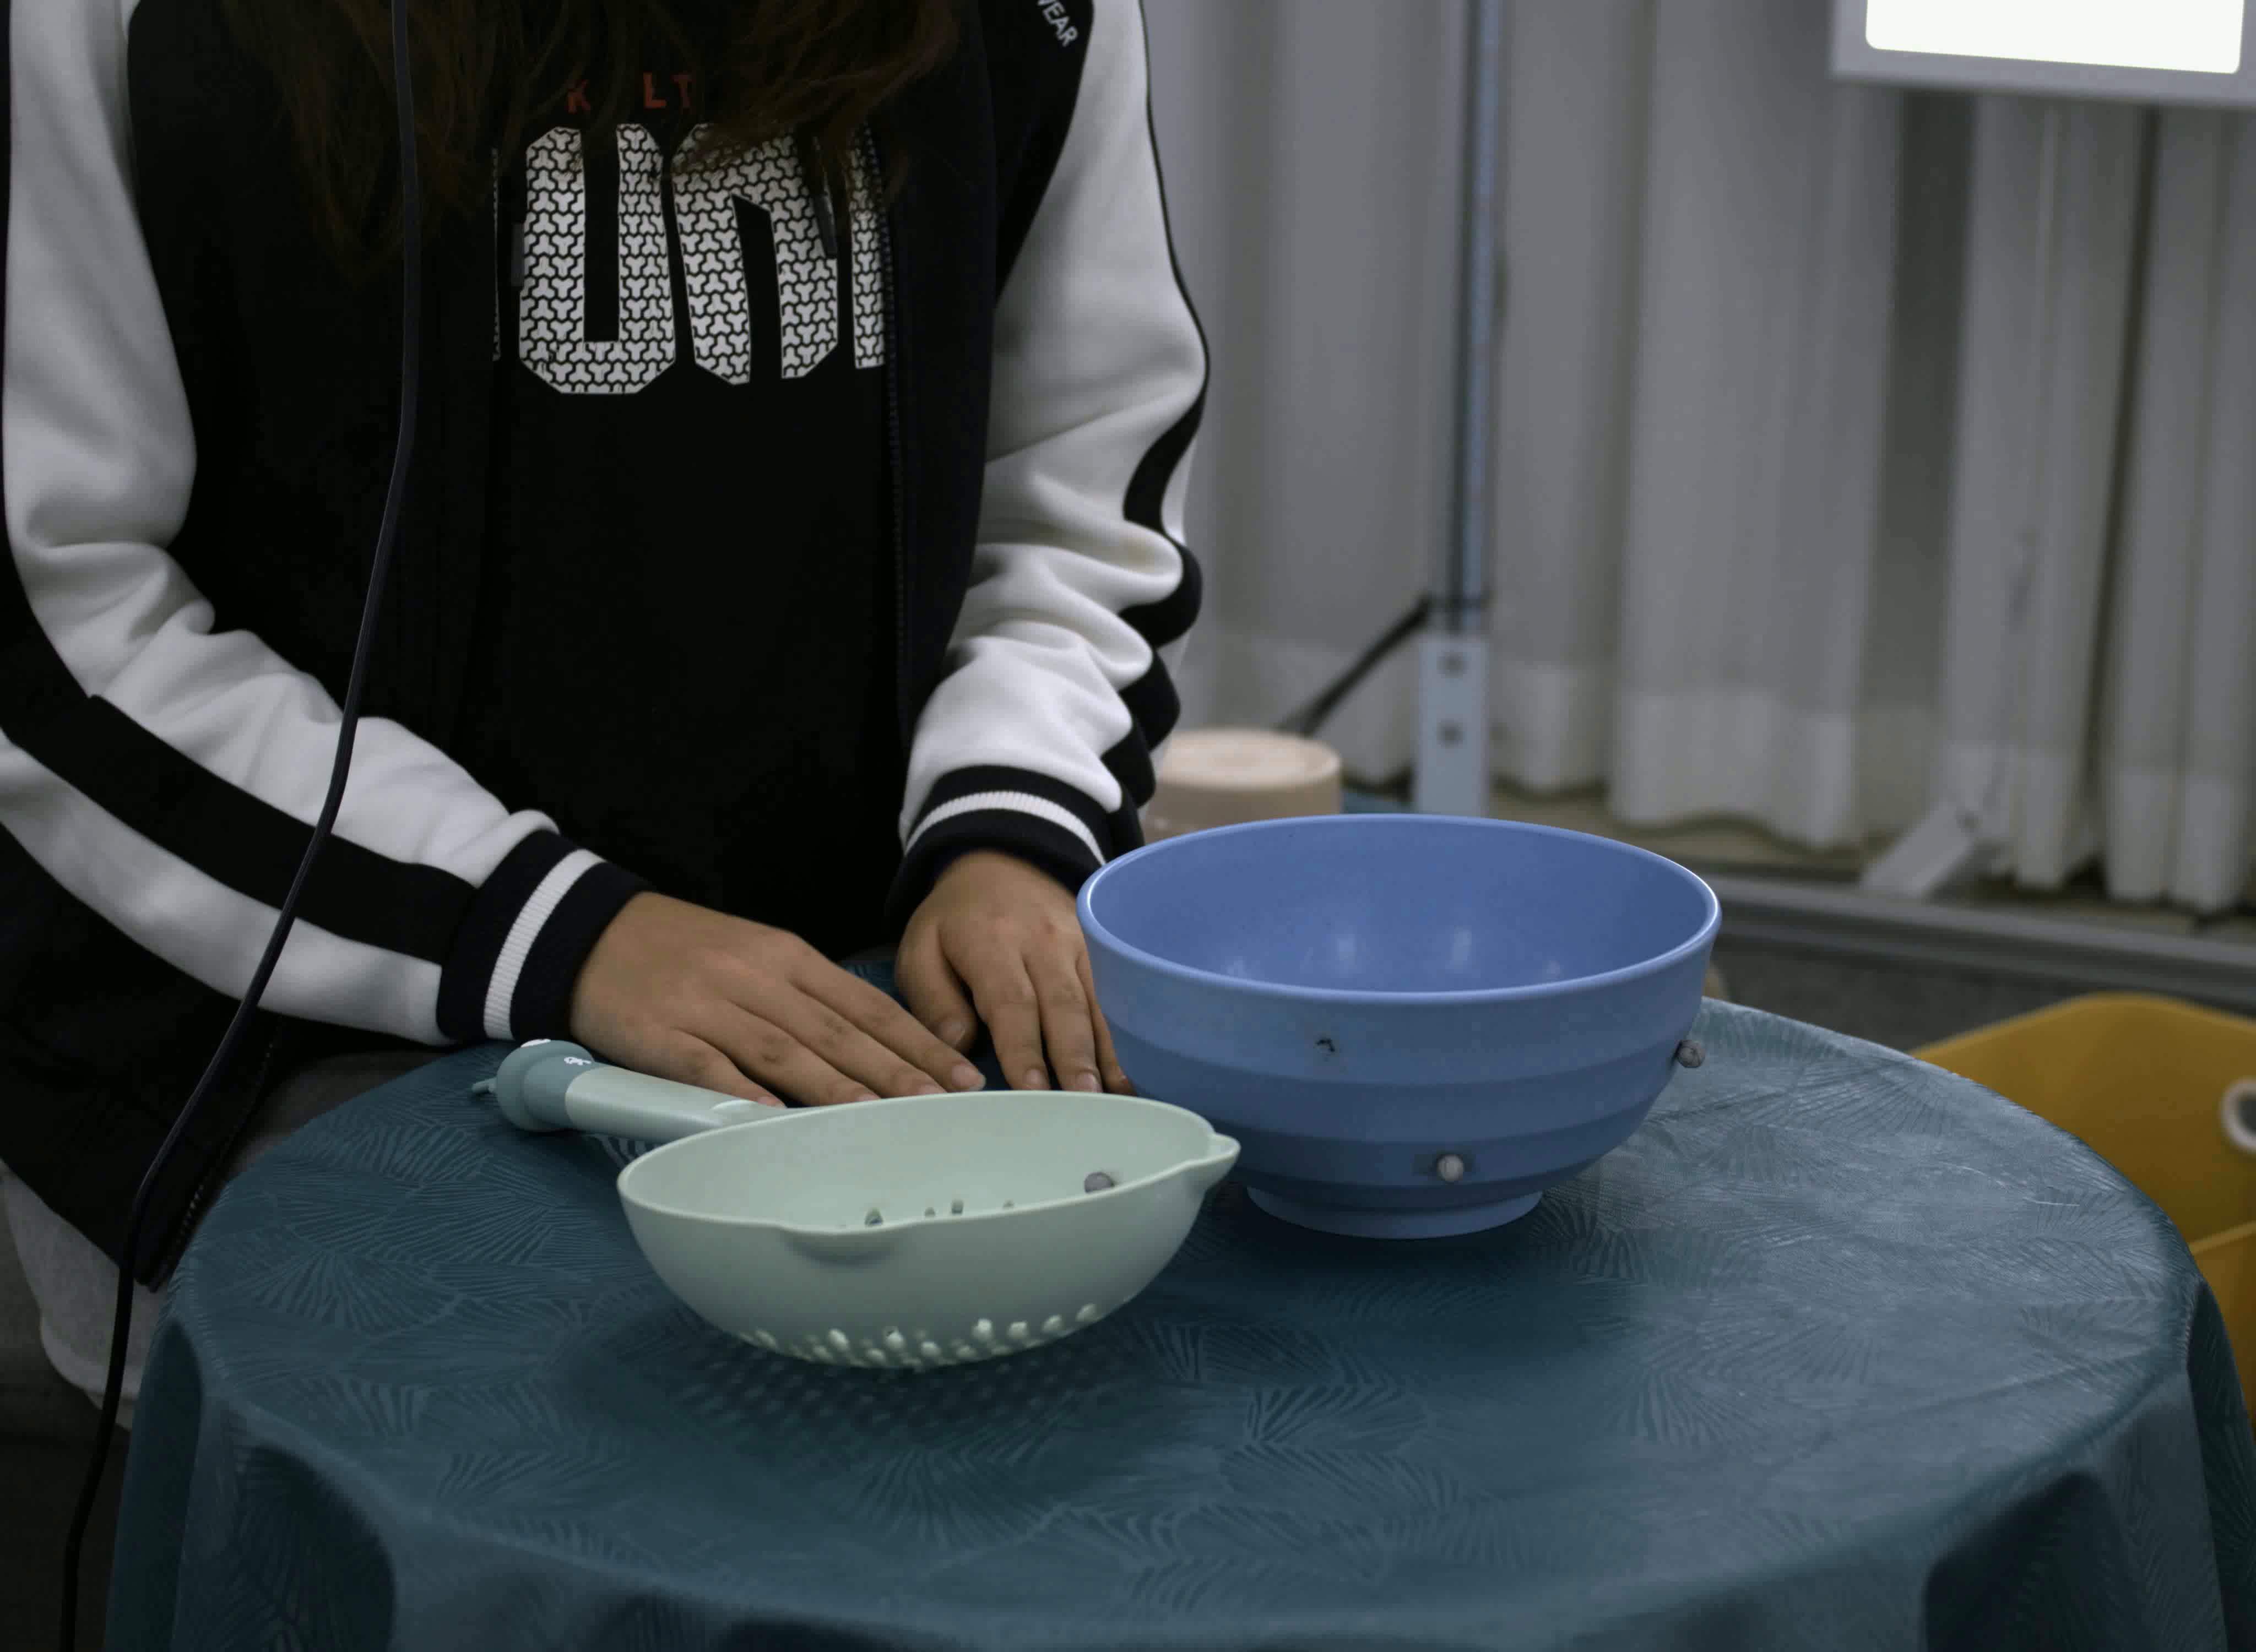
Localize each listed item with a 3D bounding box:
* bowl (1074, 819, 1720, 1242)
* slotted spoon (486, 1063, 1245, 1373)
[{"bbox_3d":[0.082,0.068,1.610,0.196,0.096,0.195,0,16,1],"label":"bowl"},{"bbox_3d":[-0.109,0.099,1.558,0.170,0.076,0.354,-8,16,-32],"label":"slotted spoon"}]
